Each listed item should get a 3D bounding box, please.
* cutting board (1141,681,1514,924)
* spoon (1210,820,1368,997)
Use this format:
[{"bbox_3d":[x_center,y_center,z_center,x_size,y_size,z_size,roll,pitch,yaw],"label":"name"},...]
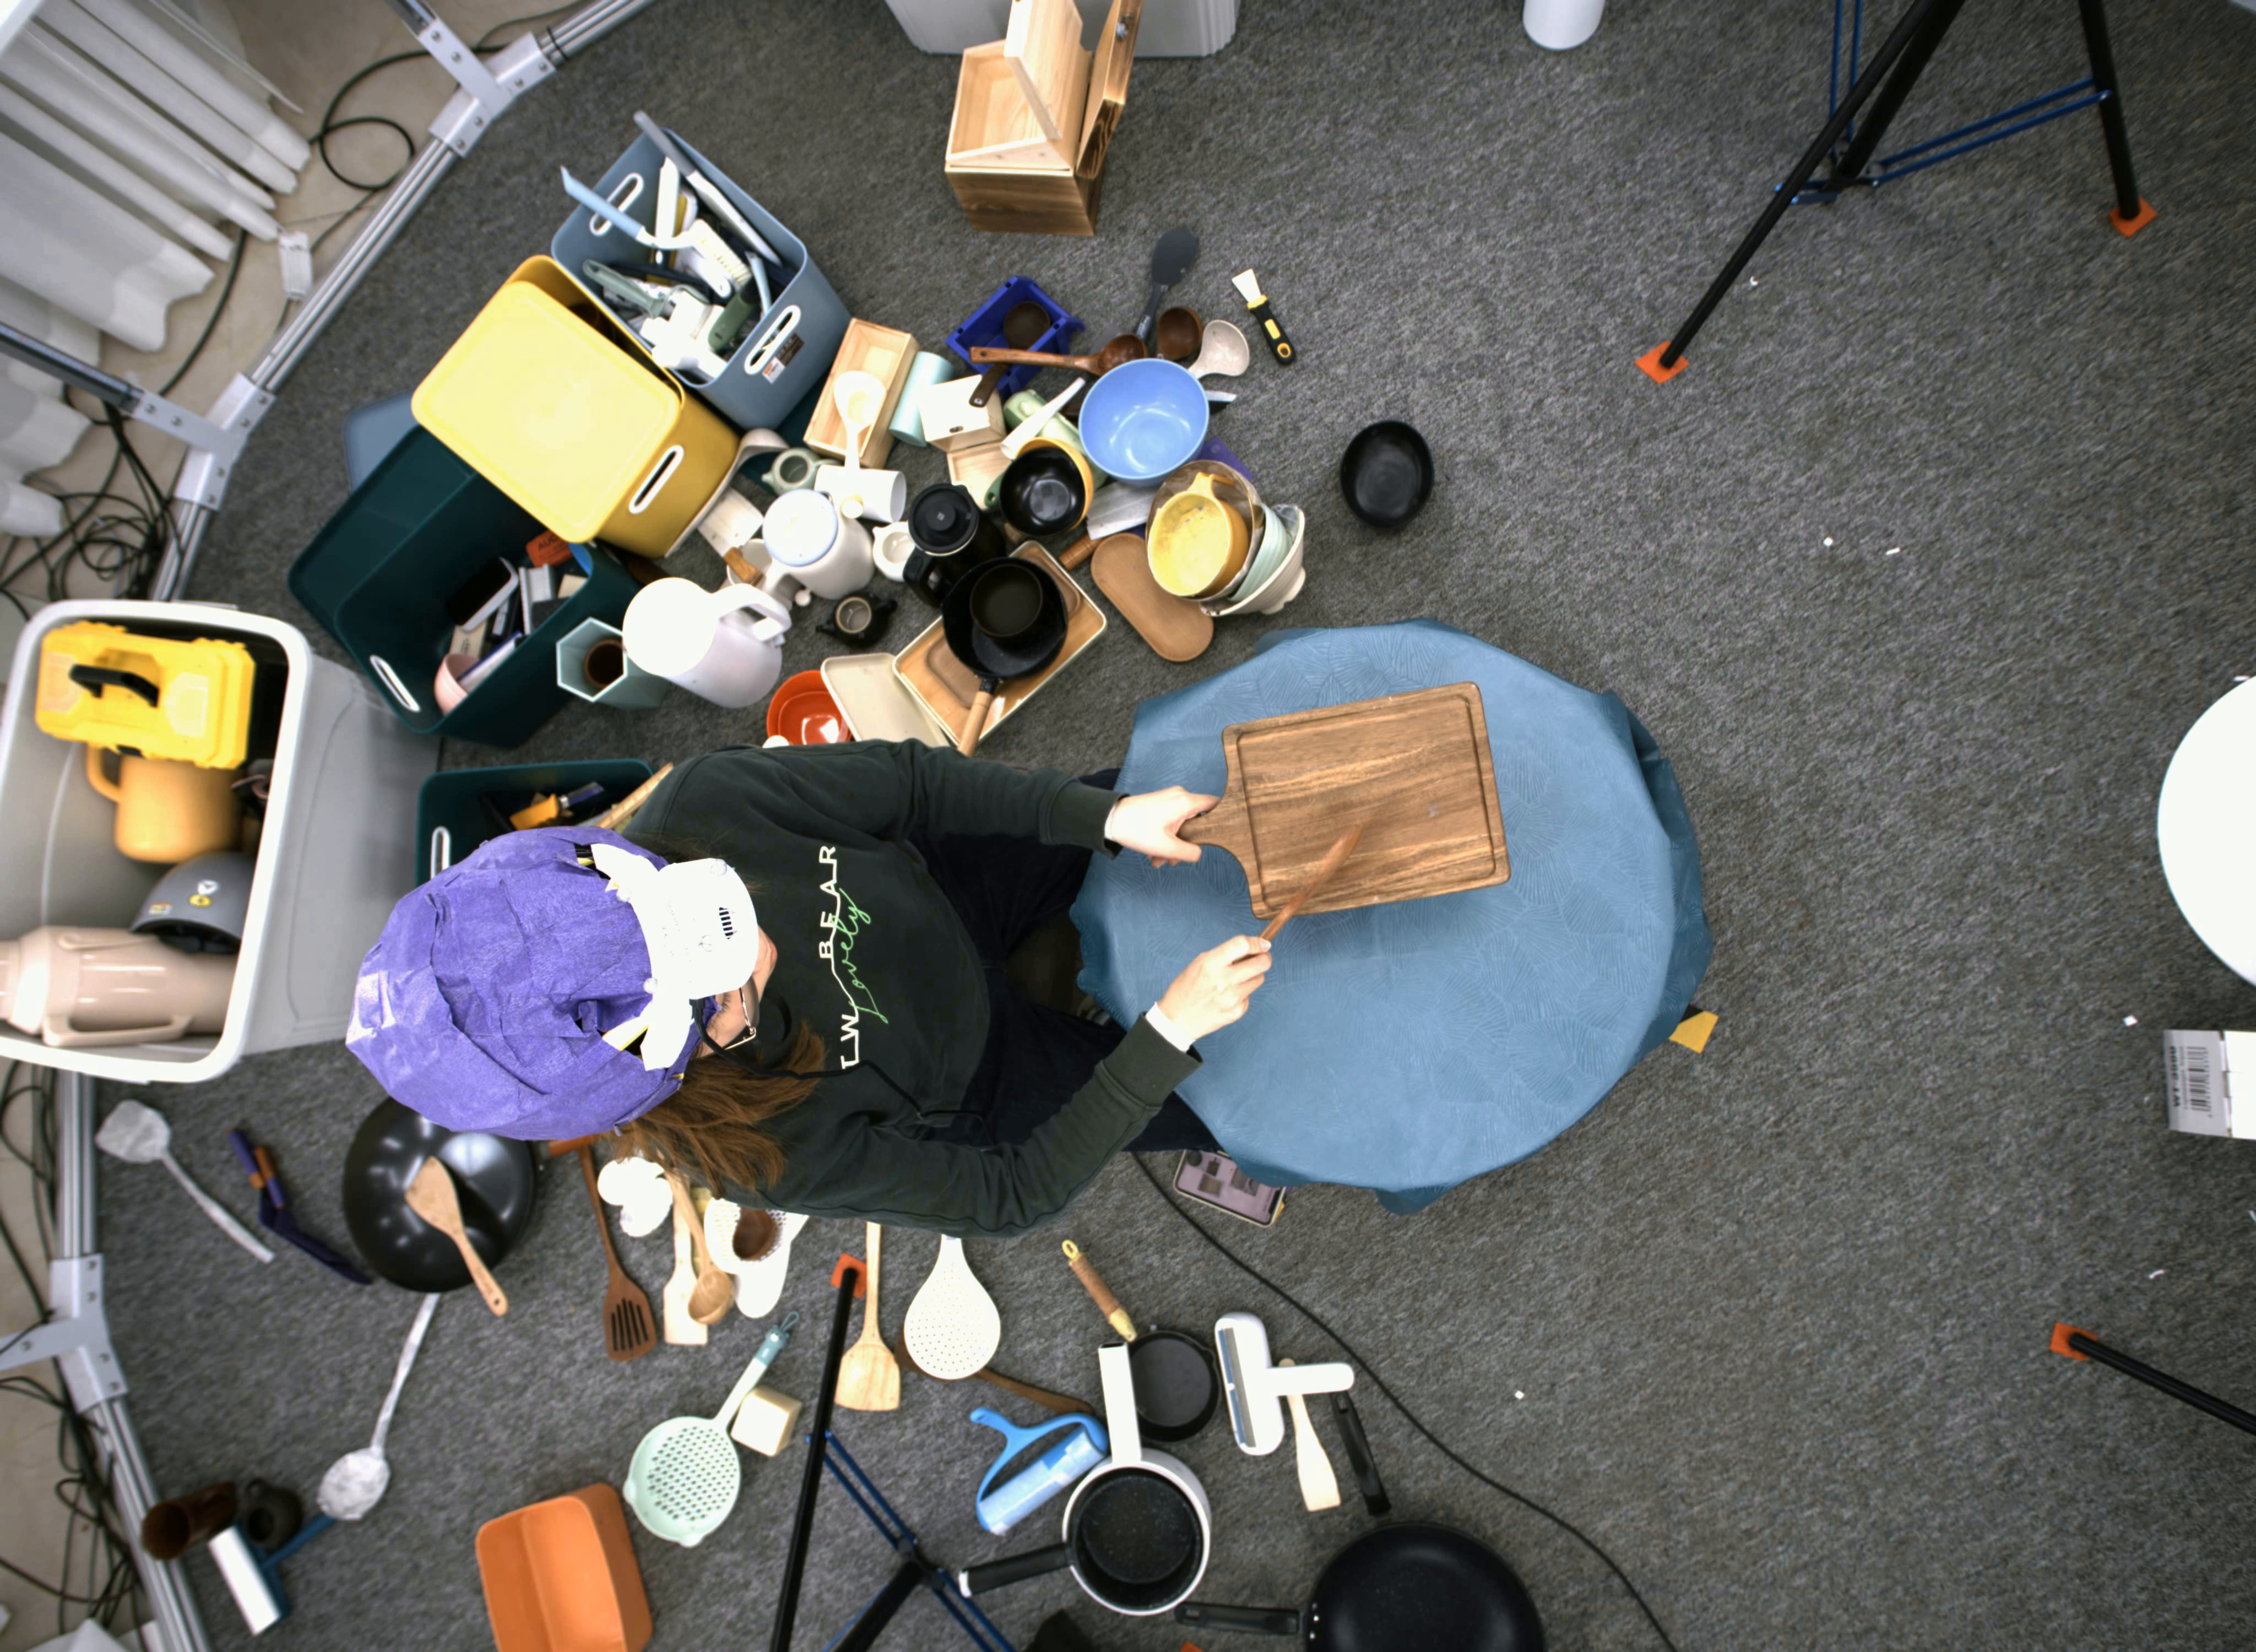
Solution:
[{"bbox_3d":[0.184,-0.014,1.347,0.354,0.023,0.201,-10,95,14],"label":"cutting board"},{"bbox_3d":[0.153,0.077,1.292,0.017,0.075,0.217,43,98,10],"label":"spoon"}]
